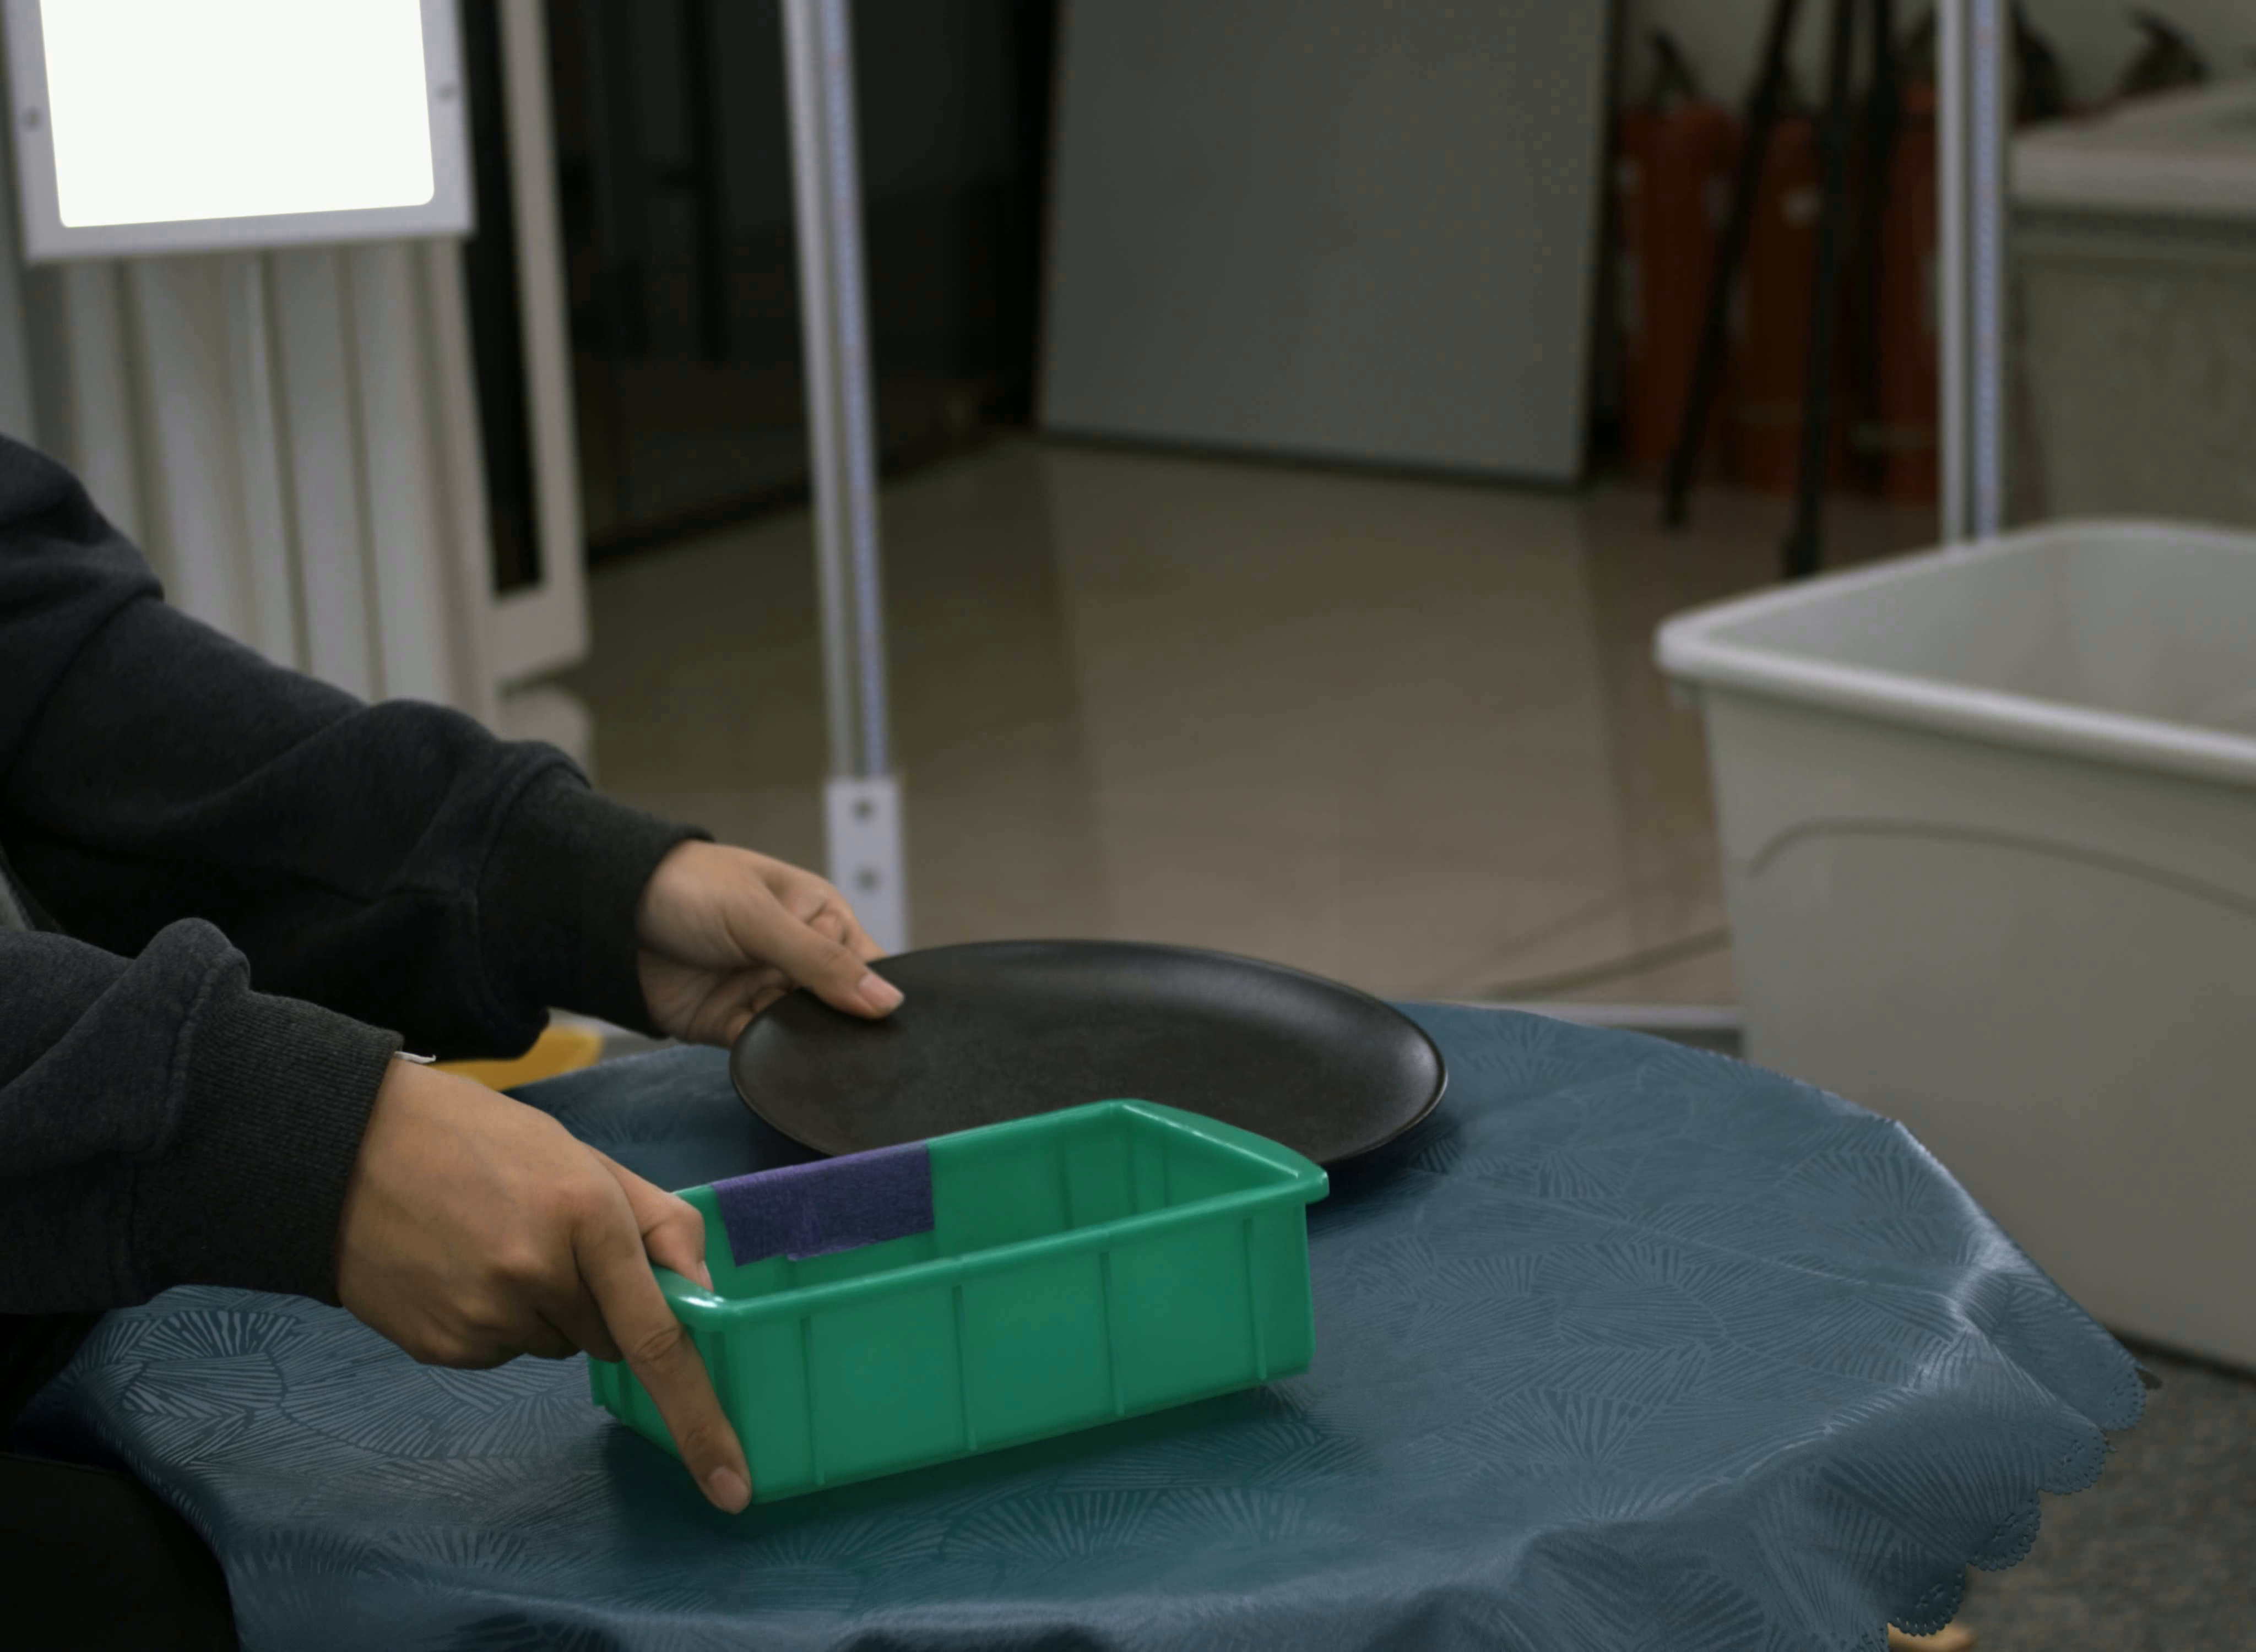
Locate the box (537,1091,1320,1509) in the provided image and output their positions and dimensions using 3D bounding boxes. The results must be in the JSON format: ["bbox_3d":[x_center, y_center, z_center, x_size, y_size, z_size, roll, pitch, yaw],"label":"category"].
[{"bbox_3d":[-0.055,0.136,1.564,0.206,0.066,0.140,-12,11,-25],"label":"box"}]

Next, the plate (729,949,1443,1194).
[{"bbox_3d":[-0.014,0.090,1.816,0.241,0.024,0.245,0,18,-1],"label":"plate"}]
